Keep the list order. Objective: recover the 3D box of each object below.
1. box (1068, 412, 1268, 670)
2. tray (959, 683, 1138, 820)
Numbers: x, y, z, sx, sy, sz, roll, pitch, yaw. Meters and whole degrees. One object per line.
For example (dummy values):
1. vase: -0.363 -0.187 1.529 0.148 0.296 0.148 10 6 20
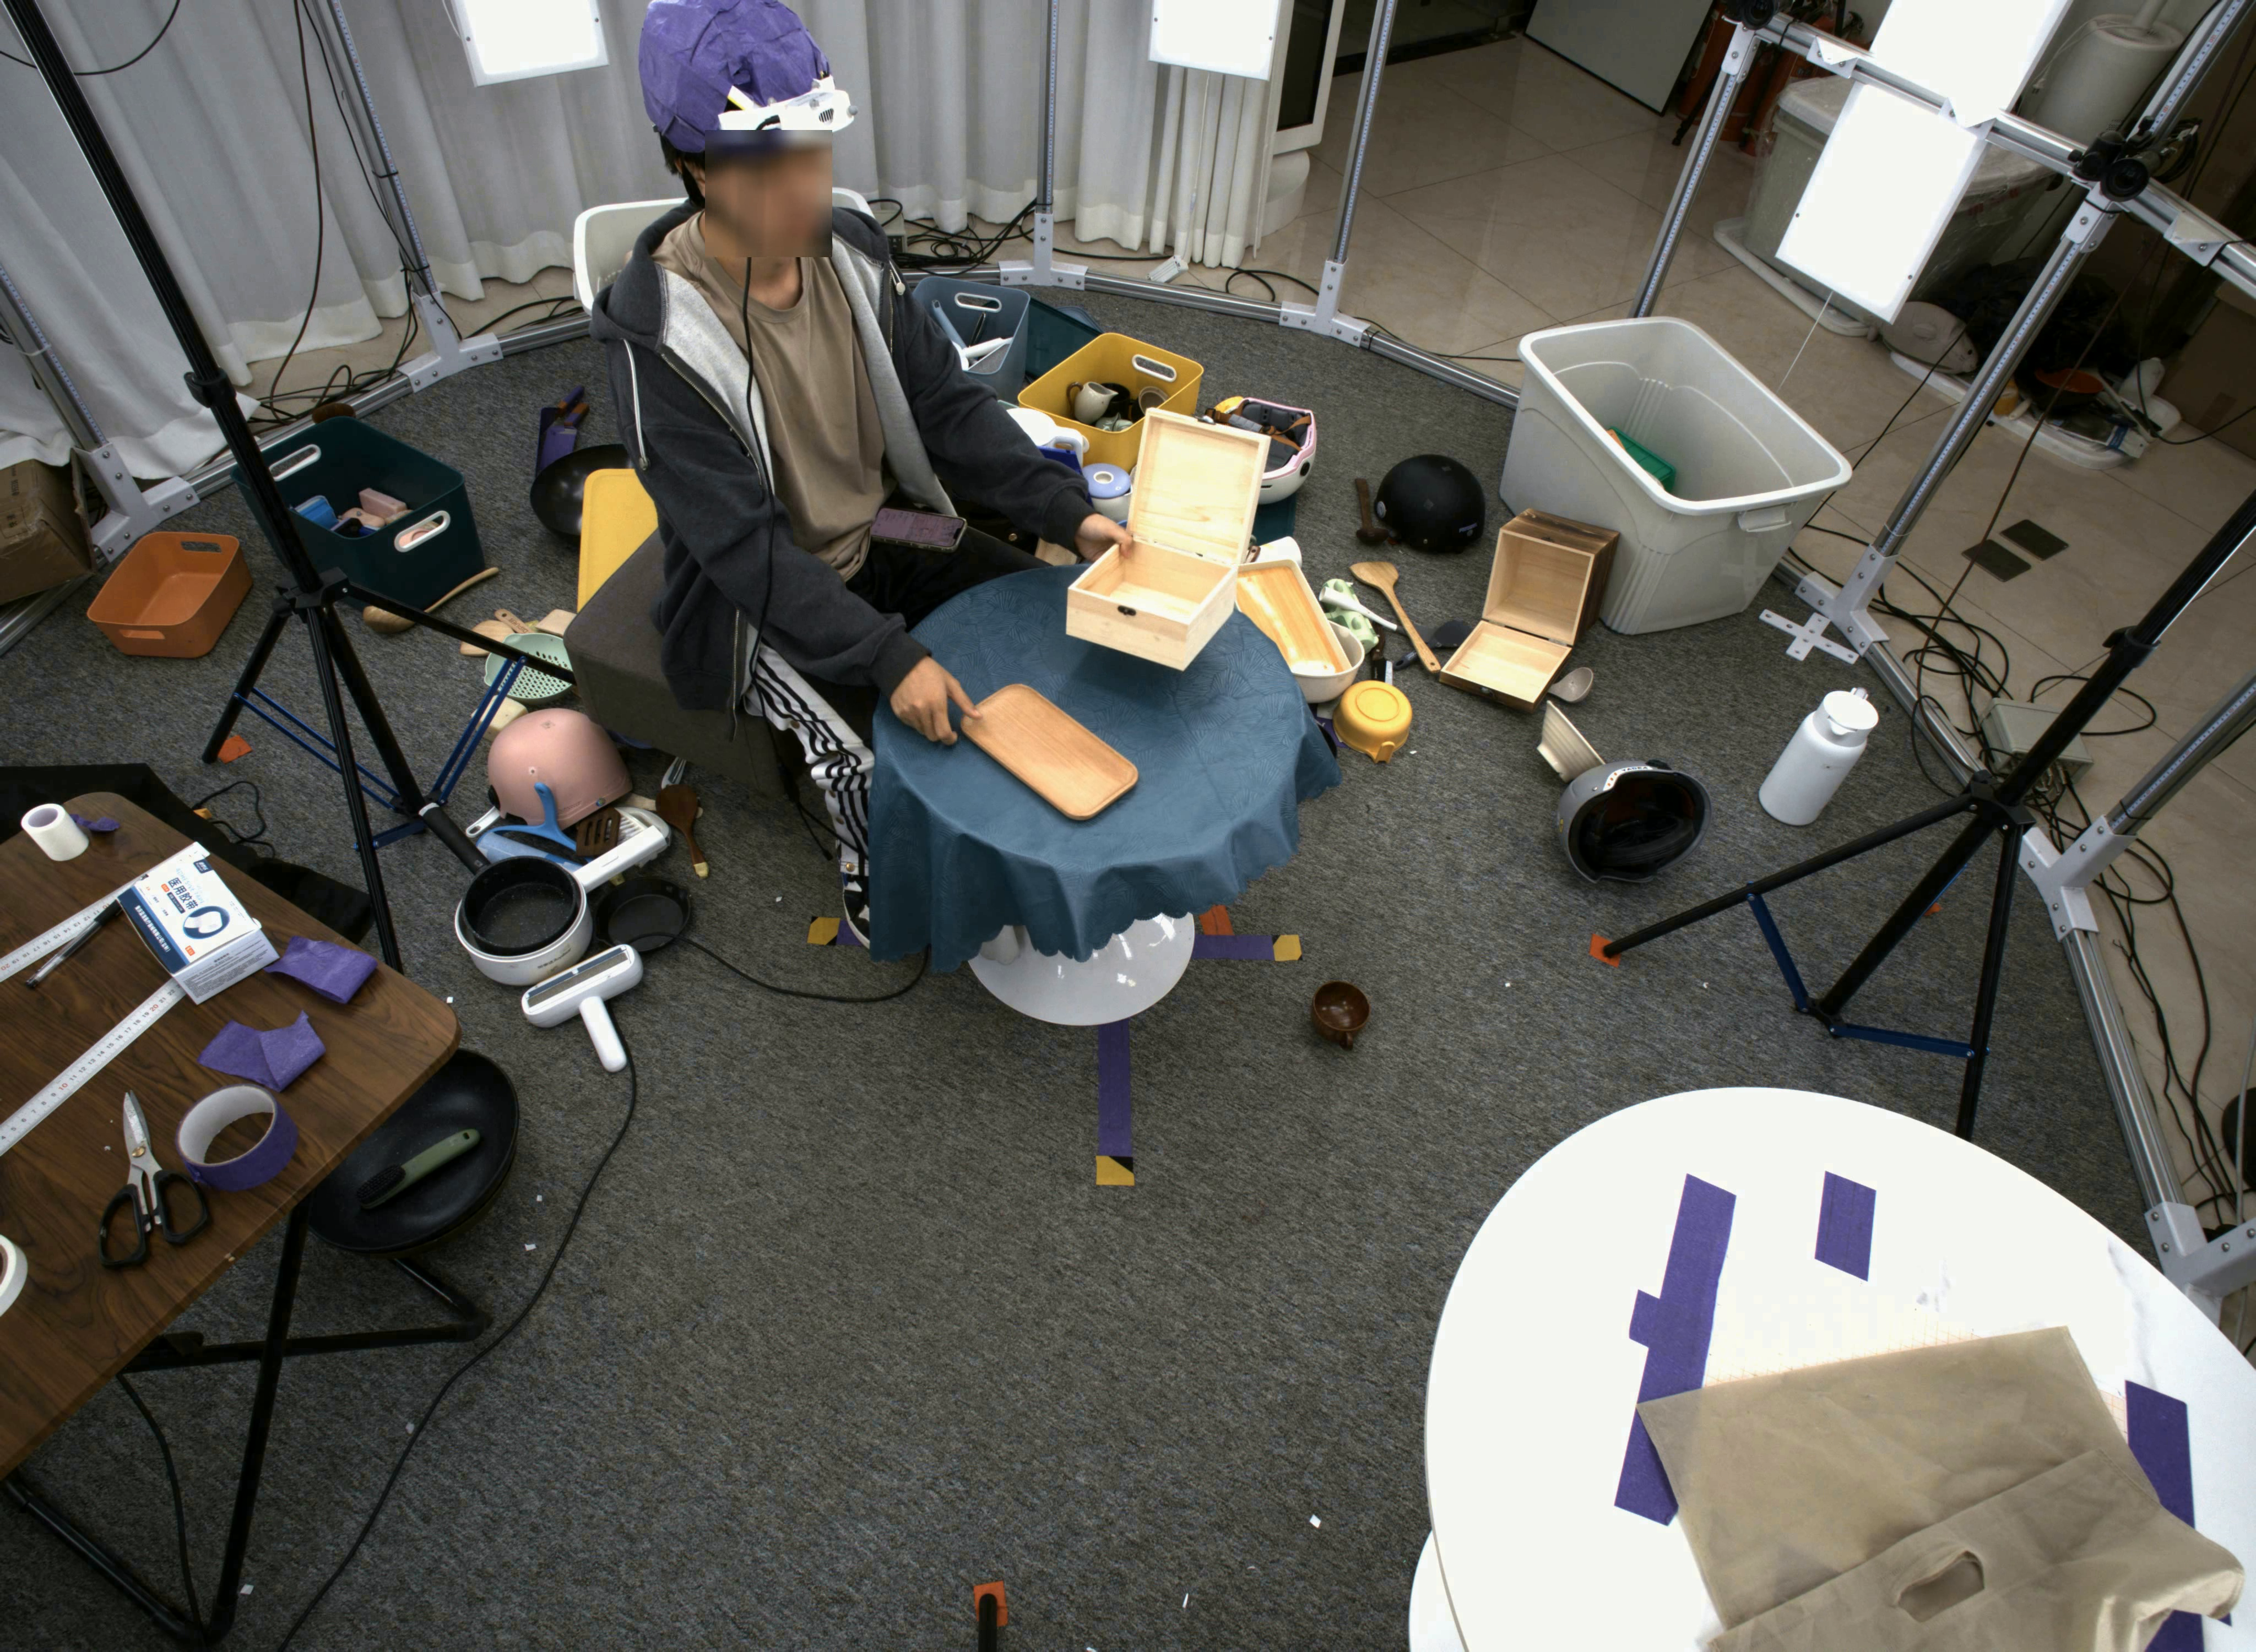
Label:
1. box: 0.054 -0.402 1.789 0.183 0.247 0.269 17 38 19
2. tray: -0.109 -0.103 1.736 0.132 0.022 0.254 -34 58 -32
